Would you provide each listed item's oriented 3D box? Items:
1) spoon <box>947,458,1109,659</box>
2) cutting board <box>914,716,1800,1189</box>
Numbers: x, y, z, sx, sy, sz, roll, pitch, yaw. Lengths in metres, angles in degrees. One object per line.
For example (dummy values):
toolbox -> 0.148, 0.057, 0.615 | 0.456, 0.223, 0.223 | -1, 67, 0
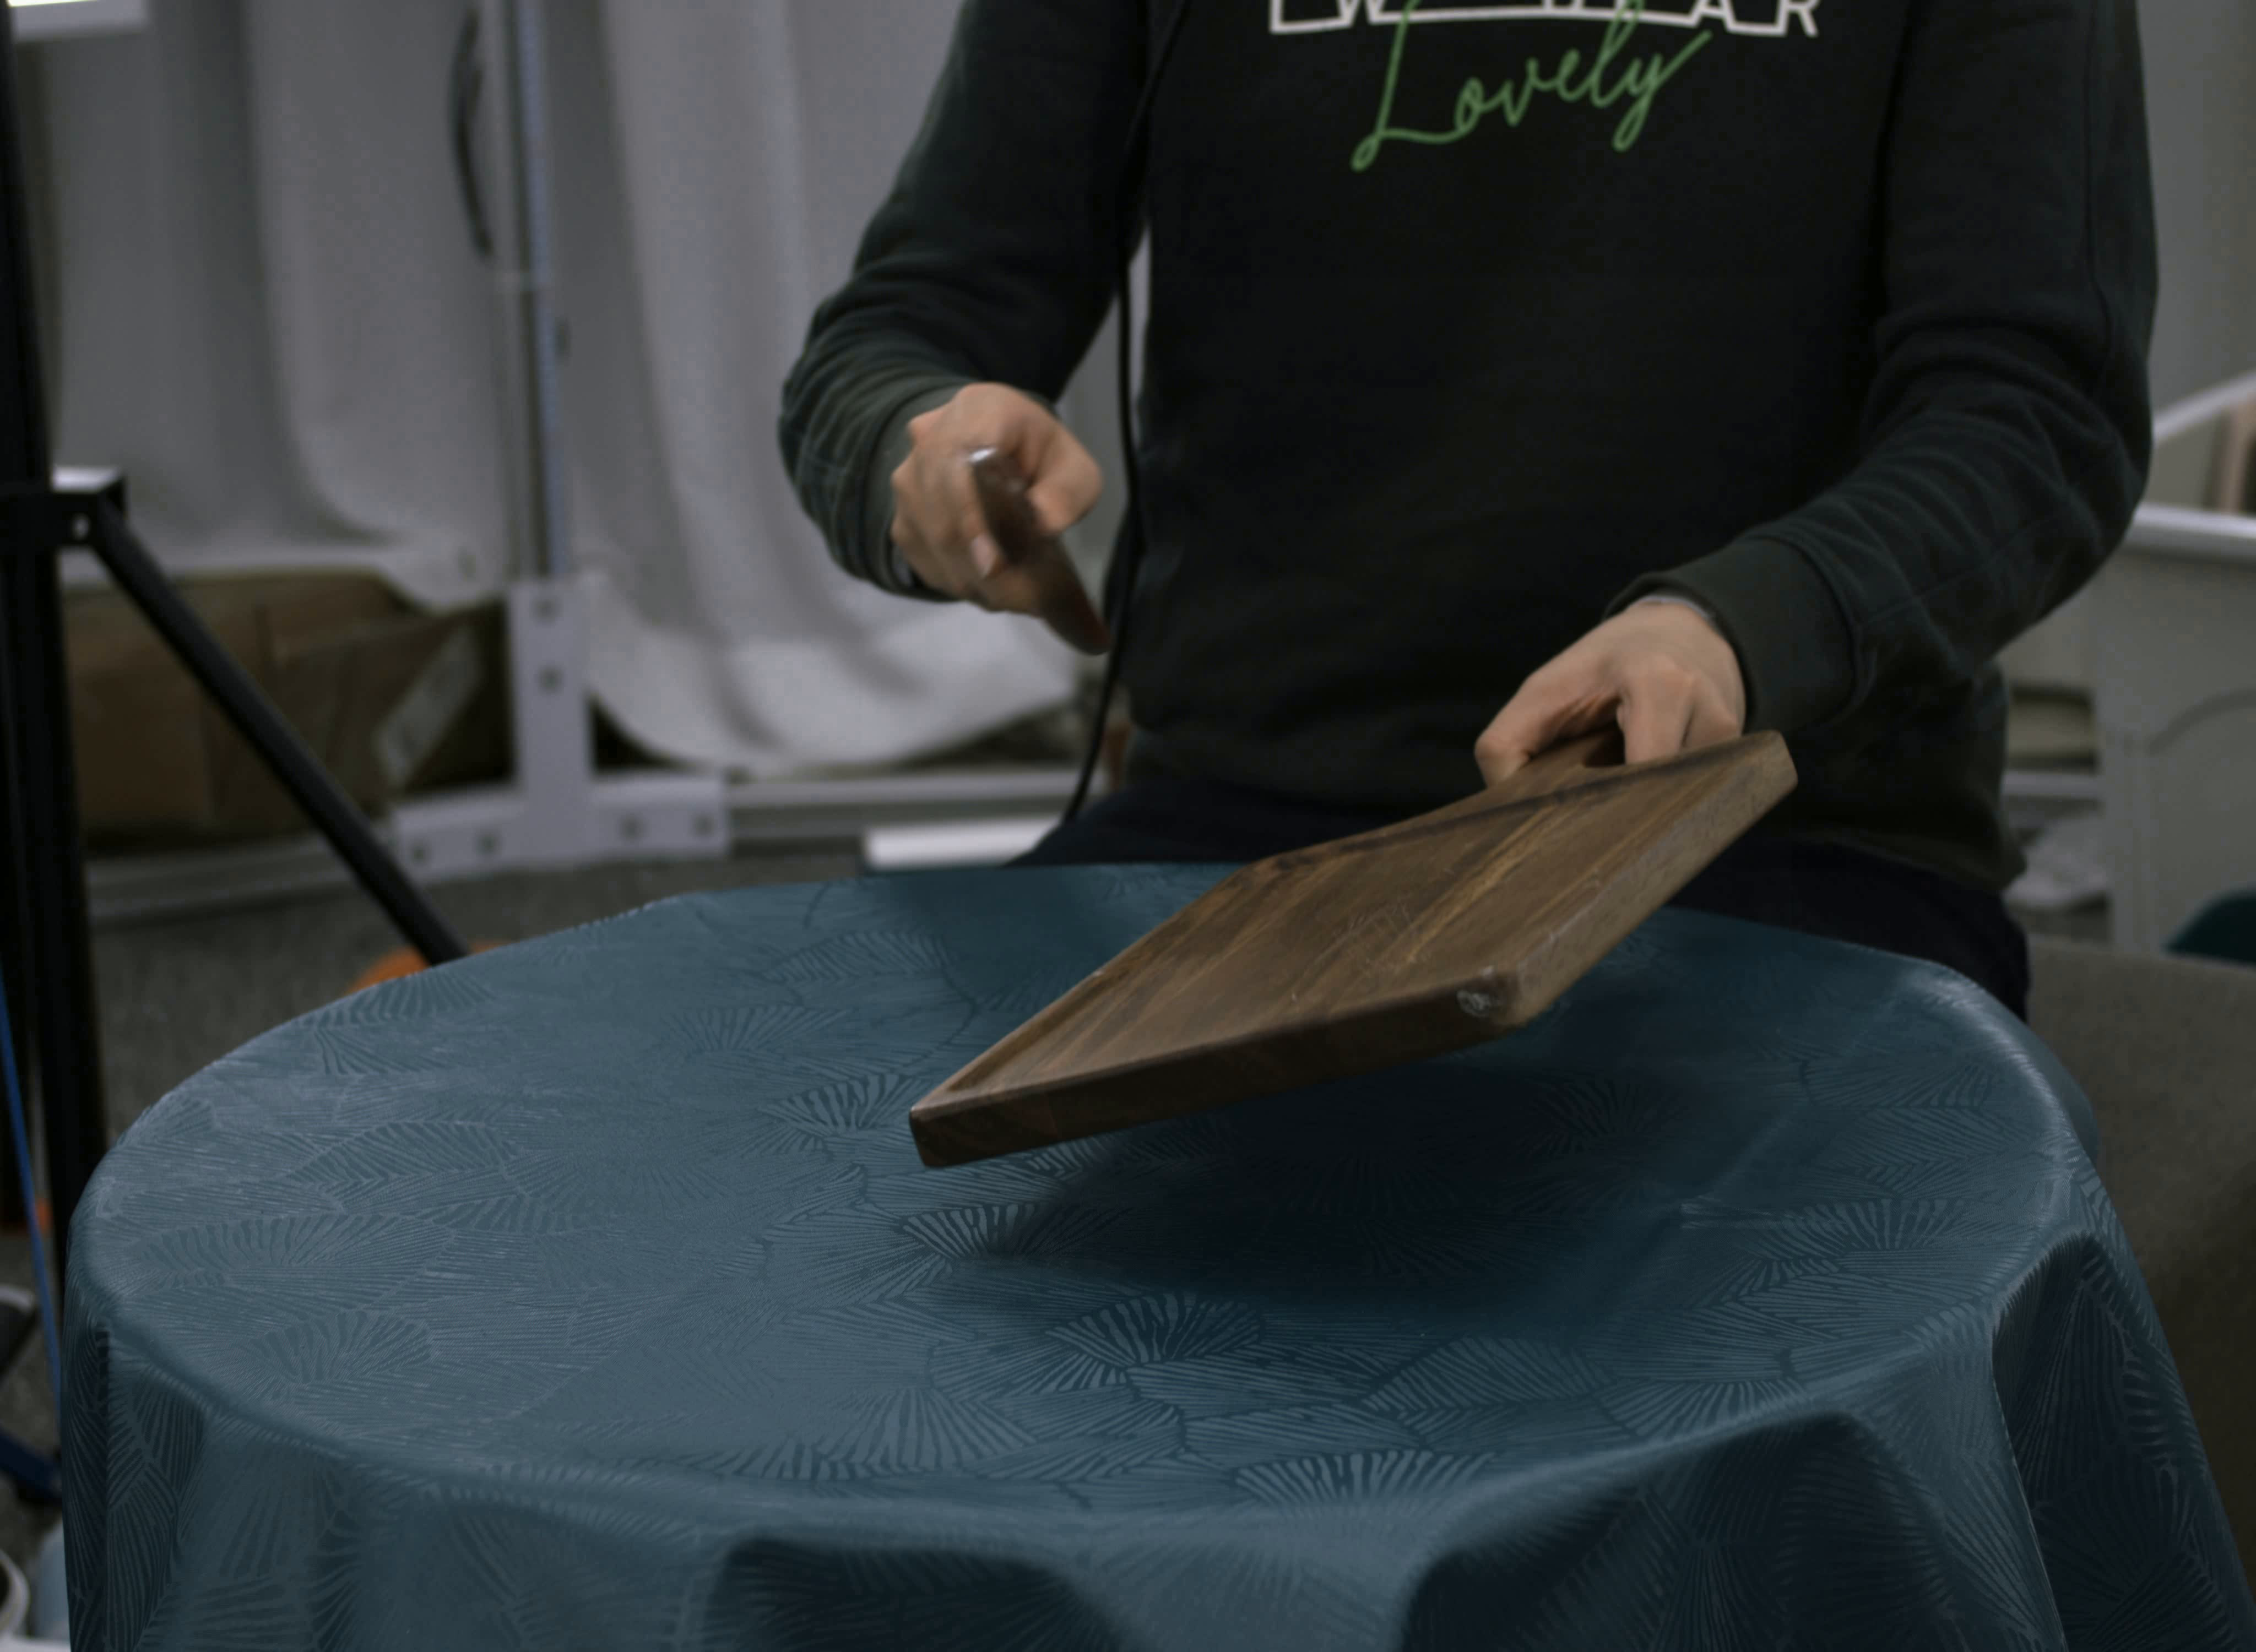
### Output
spoon -> -0.037, -0.086, 1.689 | 0.017, 0.075, 0.216 | -36, 7, 0
cutting board -> 0.092, 0.024, 1.597 | 0.204, 0.023, 0.347 | -16, 9, 29
